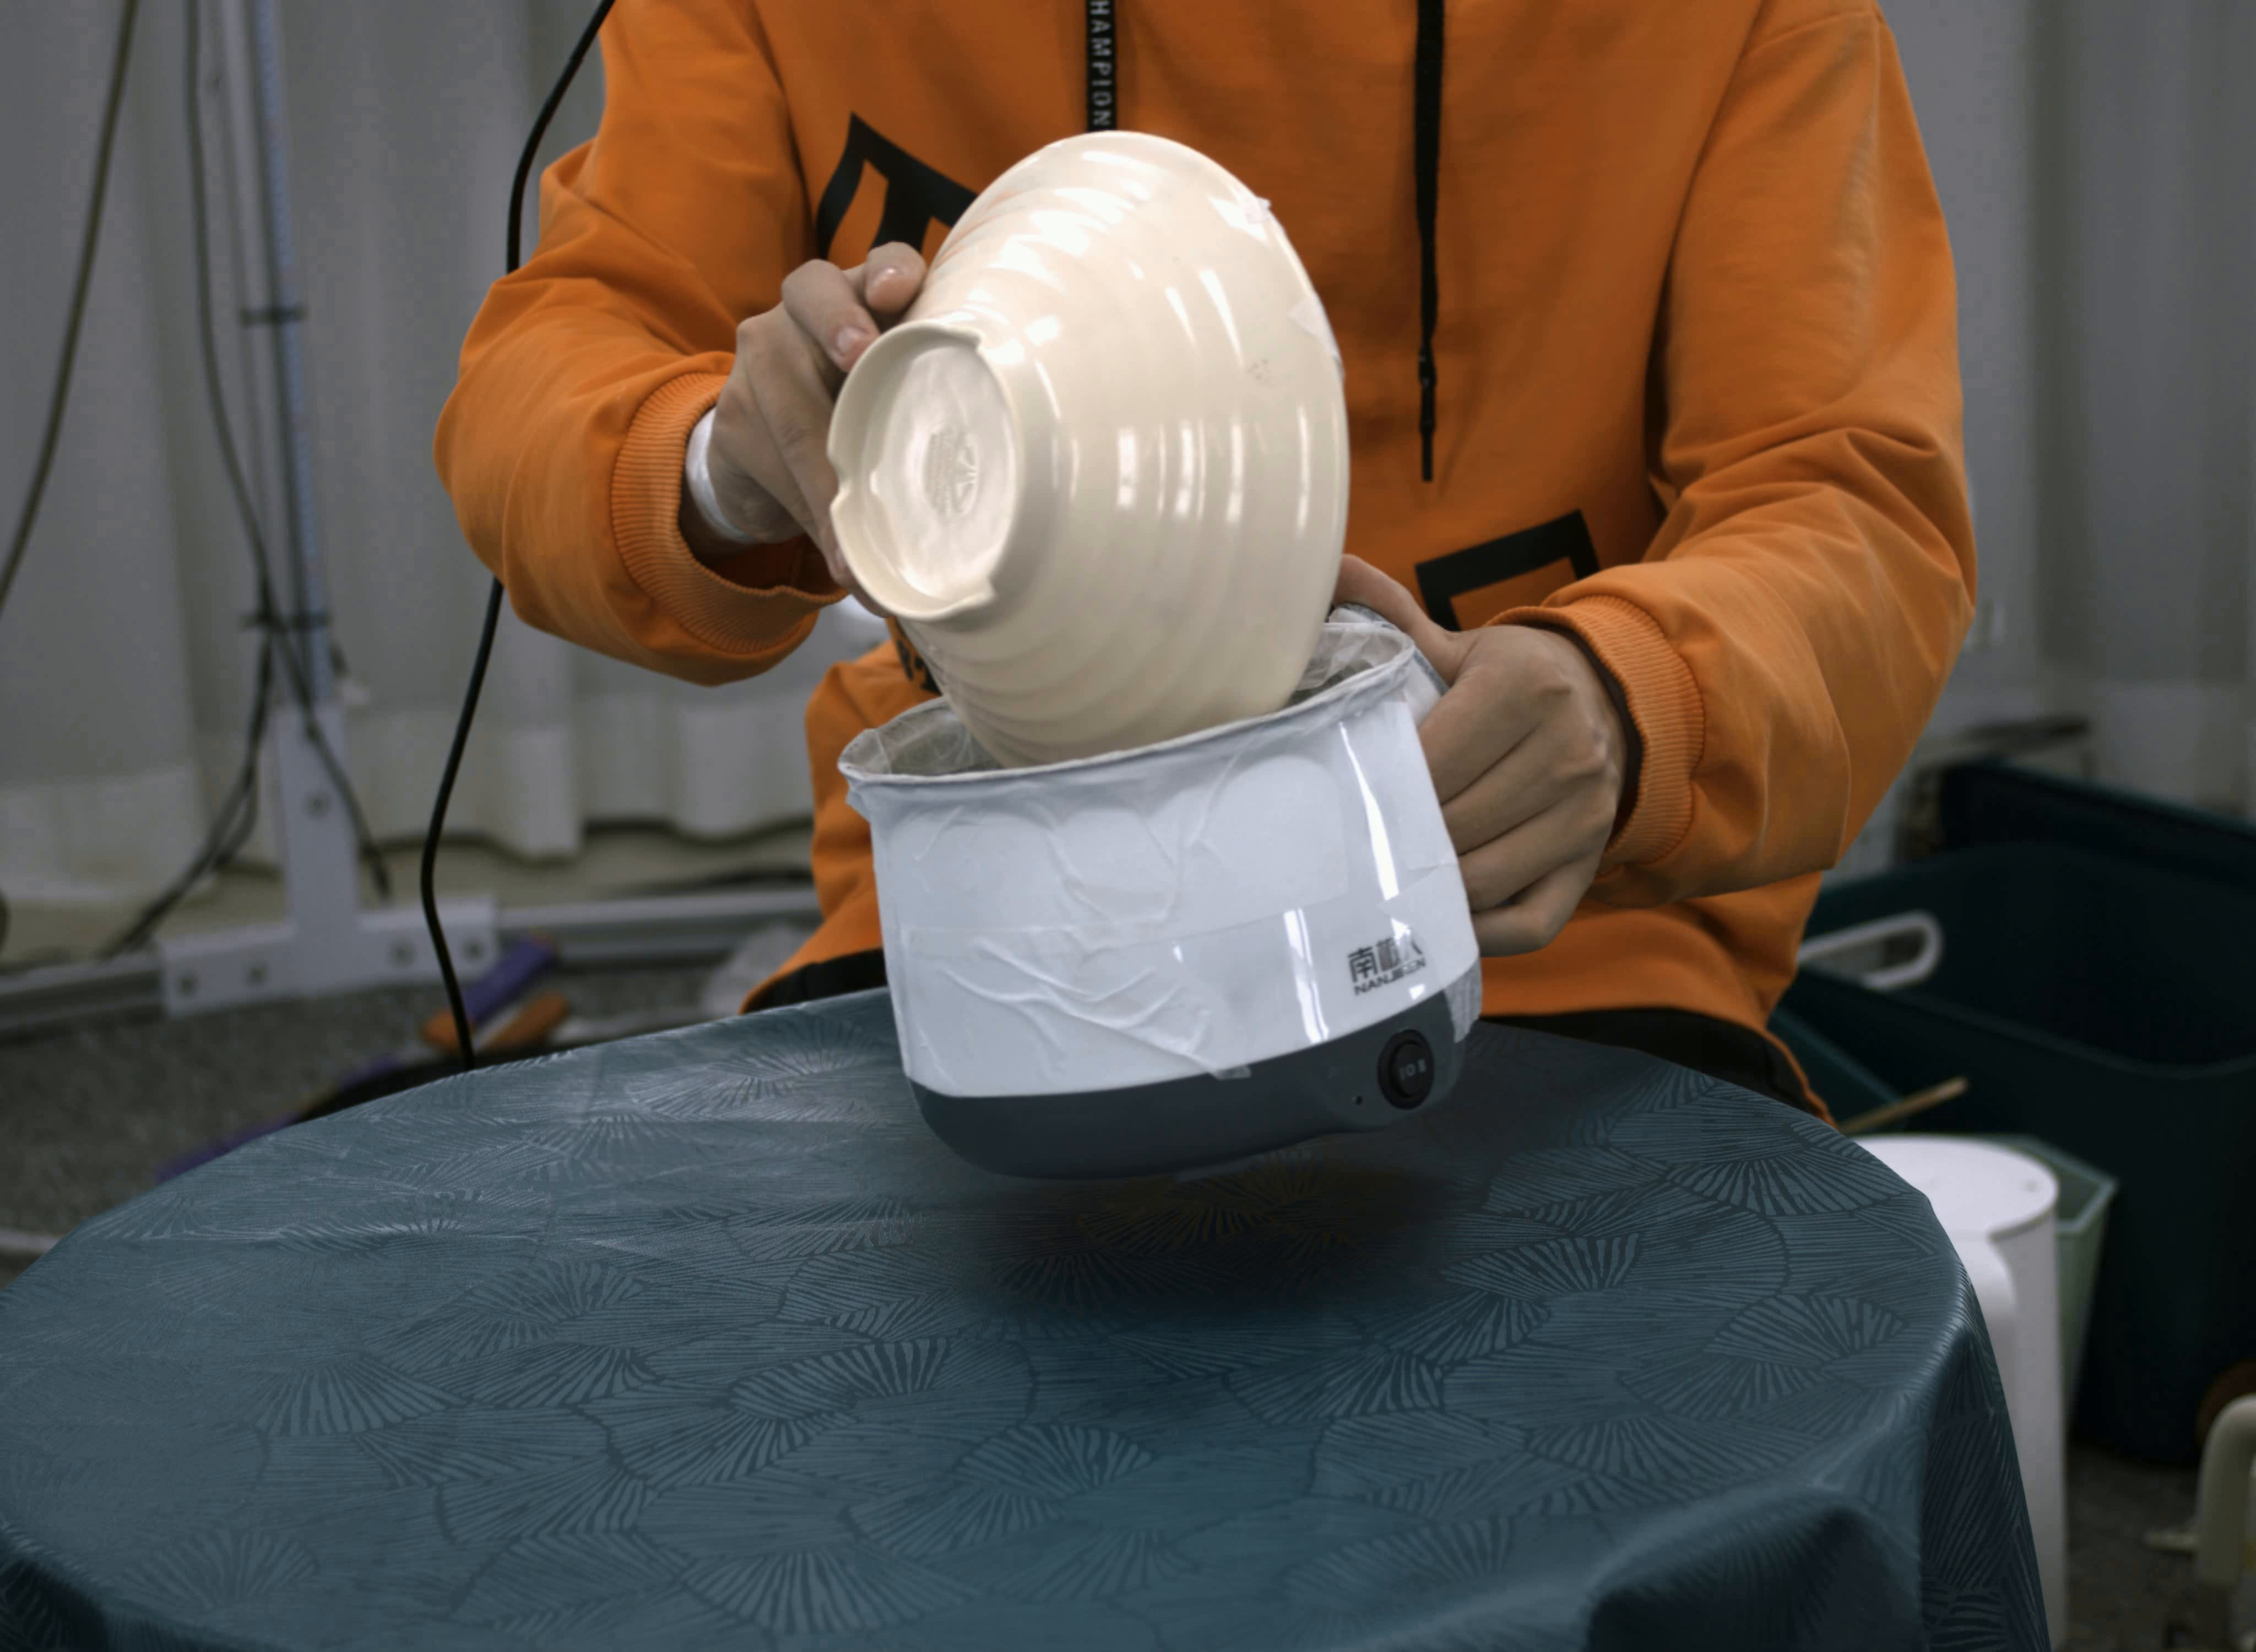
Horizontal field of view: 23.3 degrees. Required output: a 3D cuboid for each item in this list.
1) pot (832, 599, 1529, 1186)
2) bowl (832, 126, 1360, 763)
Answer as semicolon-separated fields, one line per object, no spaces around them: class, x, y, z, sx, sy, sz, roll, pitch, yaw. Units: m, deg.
pot;0.029;0.015;1.662;0.179;0.136;0.233;0;16;45
bowl;-0.031;-0.106;1.612;0.077;0.204;0.205;0;9;-45
